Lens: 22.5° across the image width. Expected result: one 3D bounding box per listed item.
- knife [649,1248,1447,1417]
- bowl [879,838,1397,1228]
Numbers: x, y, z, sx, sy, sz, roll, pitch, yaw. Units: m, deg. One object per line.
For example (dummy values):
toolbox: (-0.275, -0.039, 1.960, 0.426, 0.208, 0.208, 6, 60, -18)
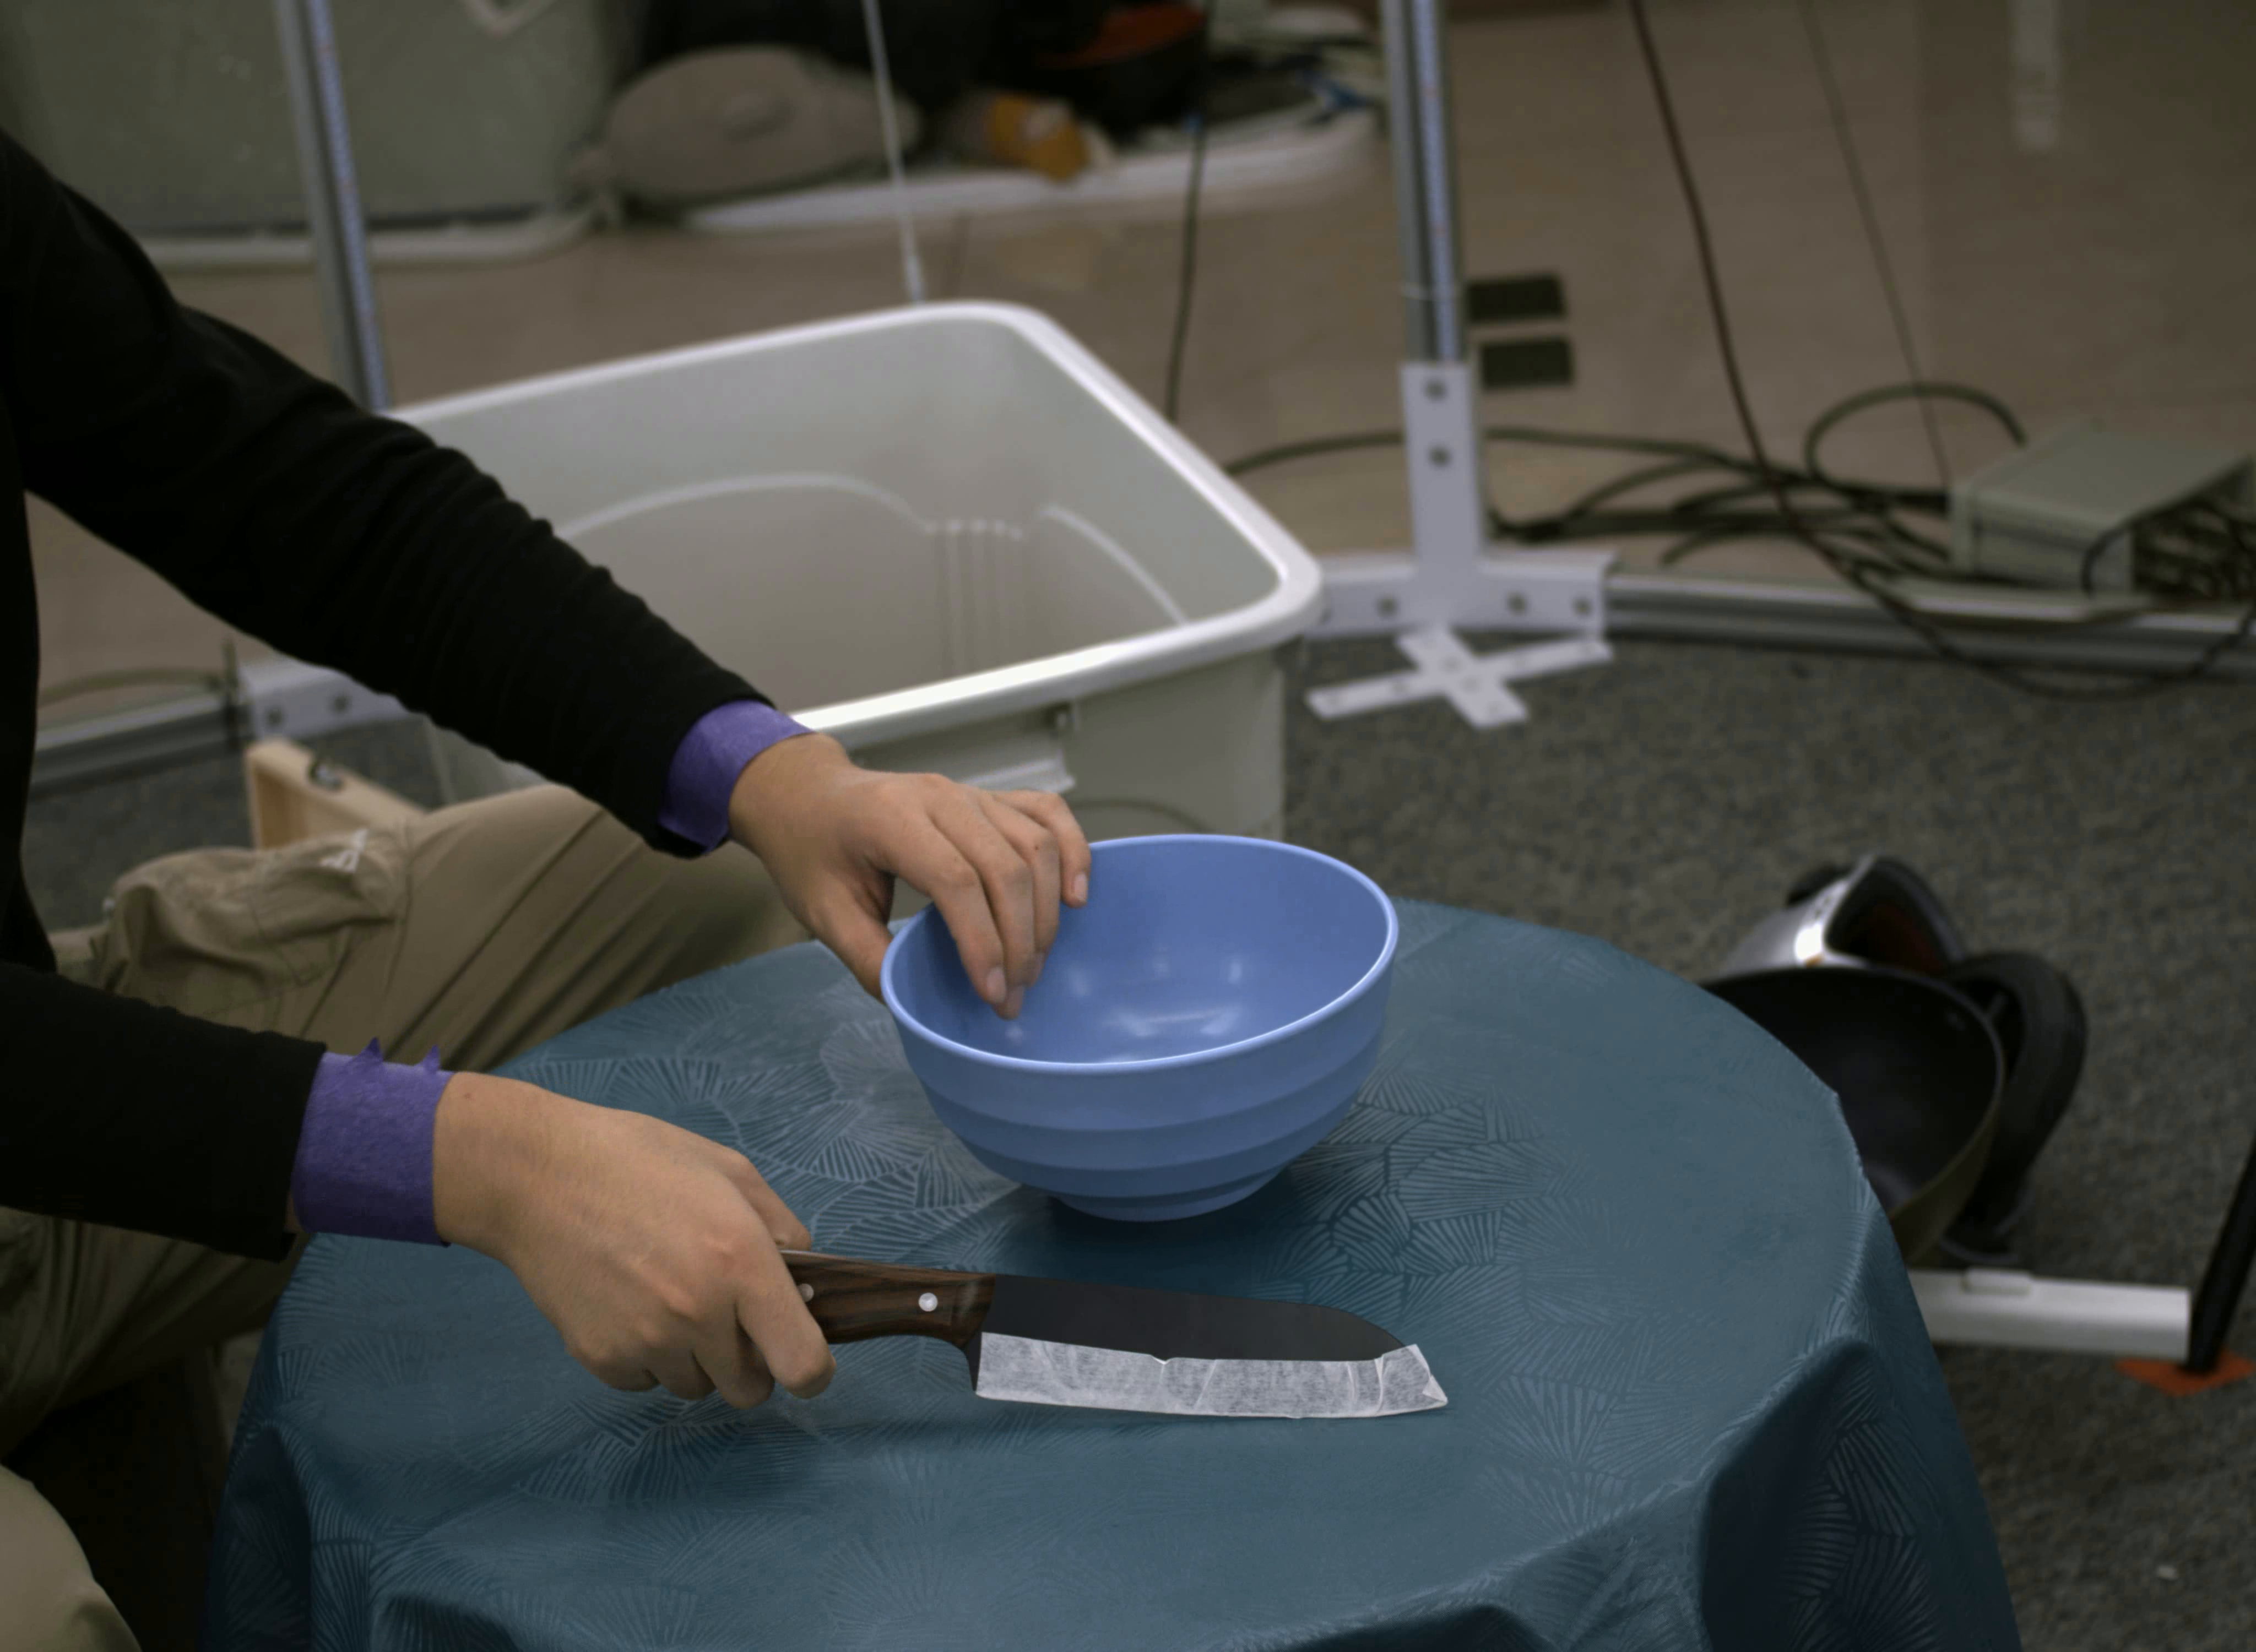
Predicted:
knife: (-0.030, 0.179, 2.004, 0.288, 0.050, 0.020, 7, -3, 9)
bowl: (0.009, 0.089, 2.147, 0.196, 0.097, 0.193, -7, 25, 3)
